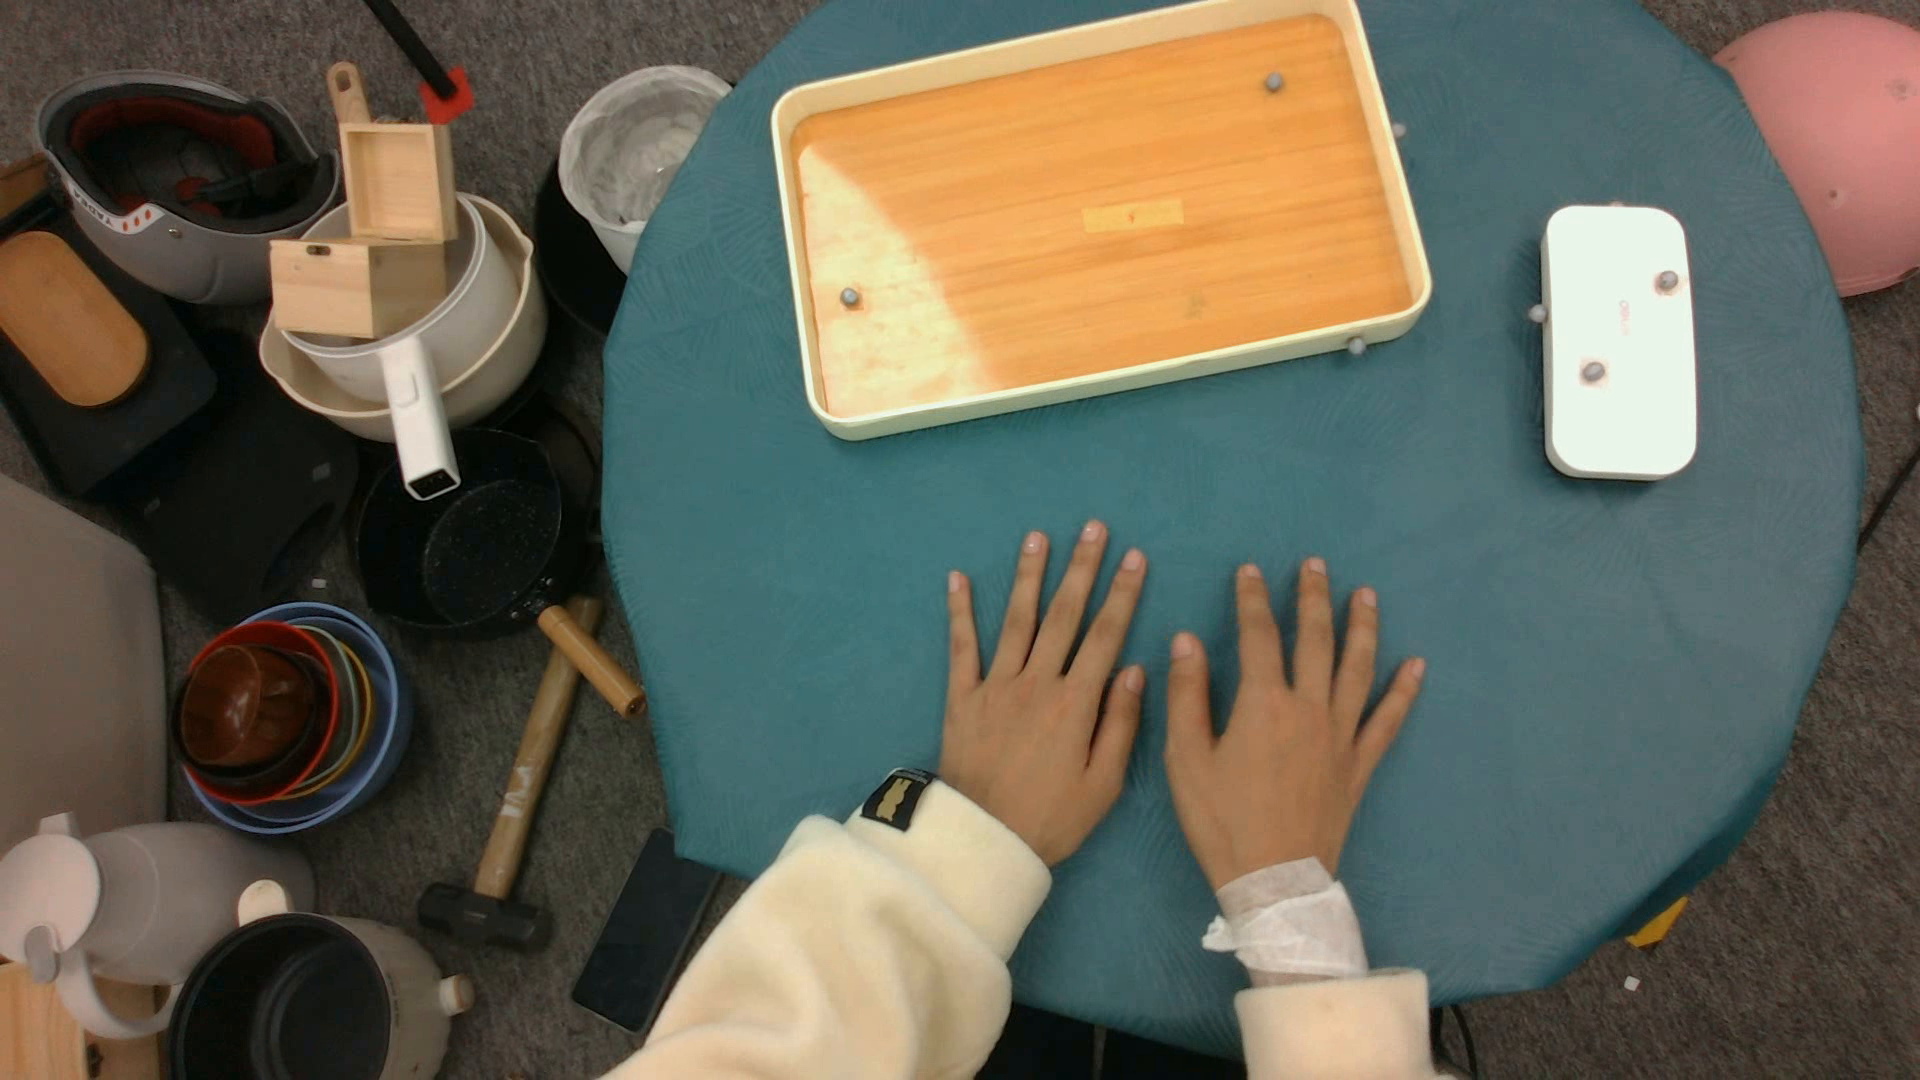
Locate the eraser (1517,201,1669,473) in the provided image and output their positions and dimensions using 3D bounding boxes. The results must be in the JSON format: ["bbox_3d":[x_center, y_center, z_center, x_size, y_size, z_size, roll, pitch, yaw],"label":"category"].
[{"bbox_3d":[0.290,-0.095,0.638,0.063,0.034,0.131,5,74,6],"label":"eraser"}]

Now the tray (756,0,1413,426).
[{"bbox_3d":[0.055,-0.171,0.687,0.300,0.027,0.192,-10,73,3],"label":"tray"}]
